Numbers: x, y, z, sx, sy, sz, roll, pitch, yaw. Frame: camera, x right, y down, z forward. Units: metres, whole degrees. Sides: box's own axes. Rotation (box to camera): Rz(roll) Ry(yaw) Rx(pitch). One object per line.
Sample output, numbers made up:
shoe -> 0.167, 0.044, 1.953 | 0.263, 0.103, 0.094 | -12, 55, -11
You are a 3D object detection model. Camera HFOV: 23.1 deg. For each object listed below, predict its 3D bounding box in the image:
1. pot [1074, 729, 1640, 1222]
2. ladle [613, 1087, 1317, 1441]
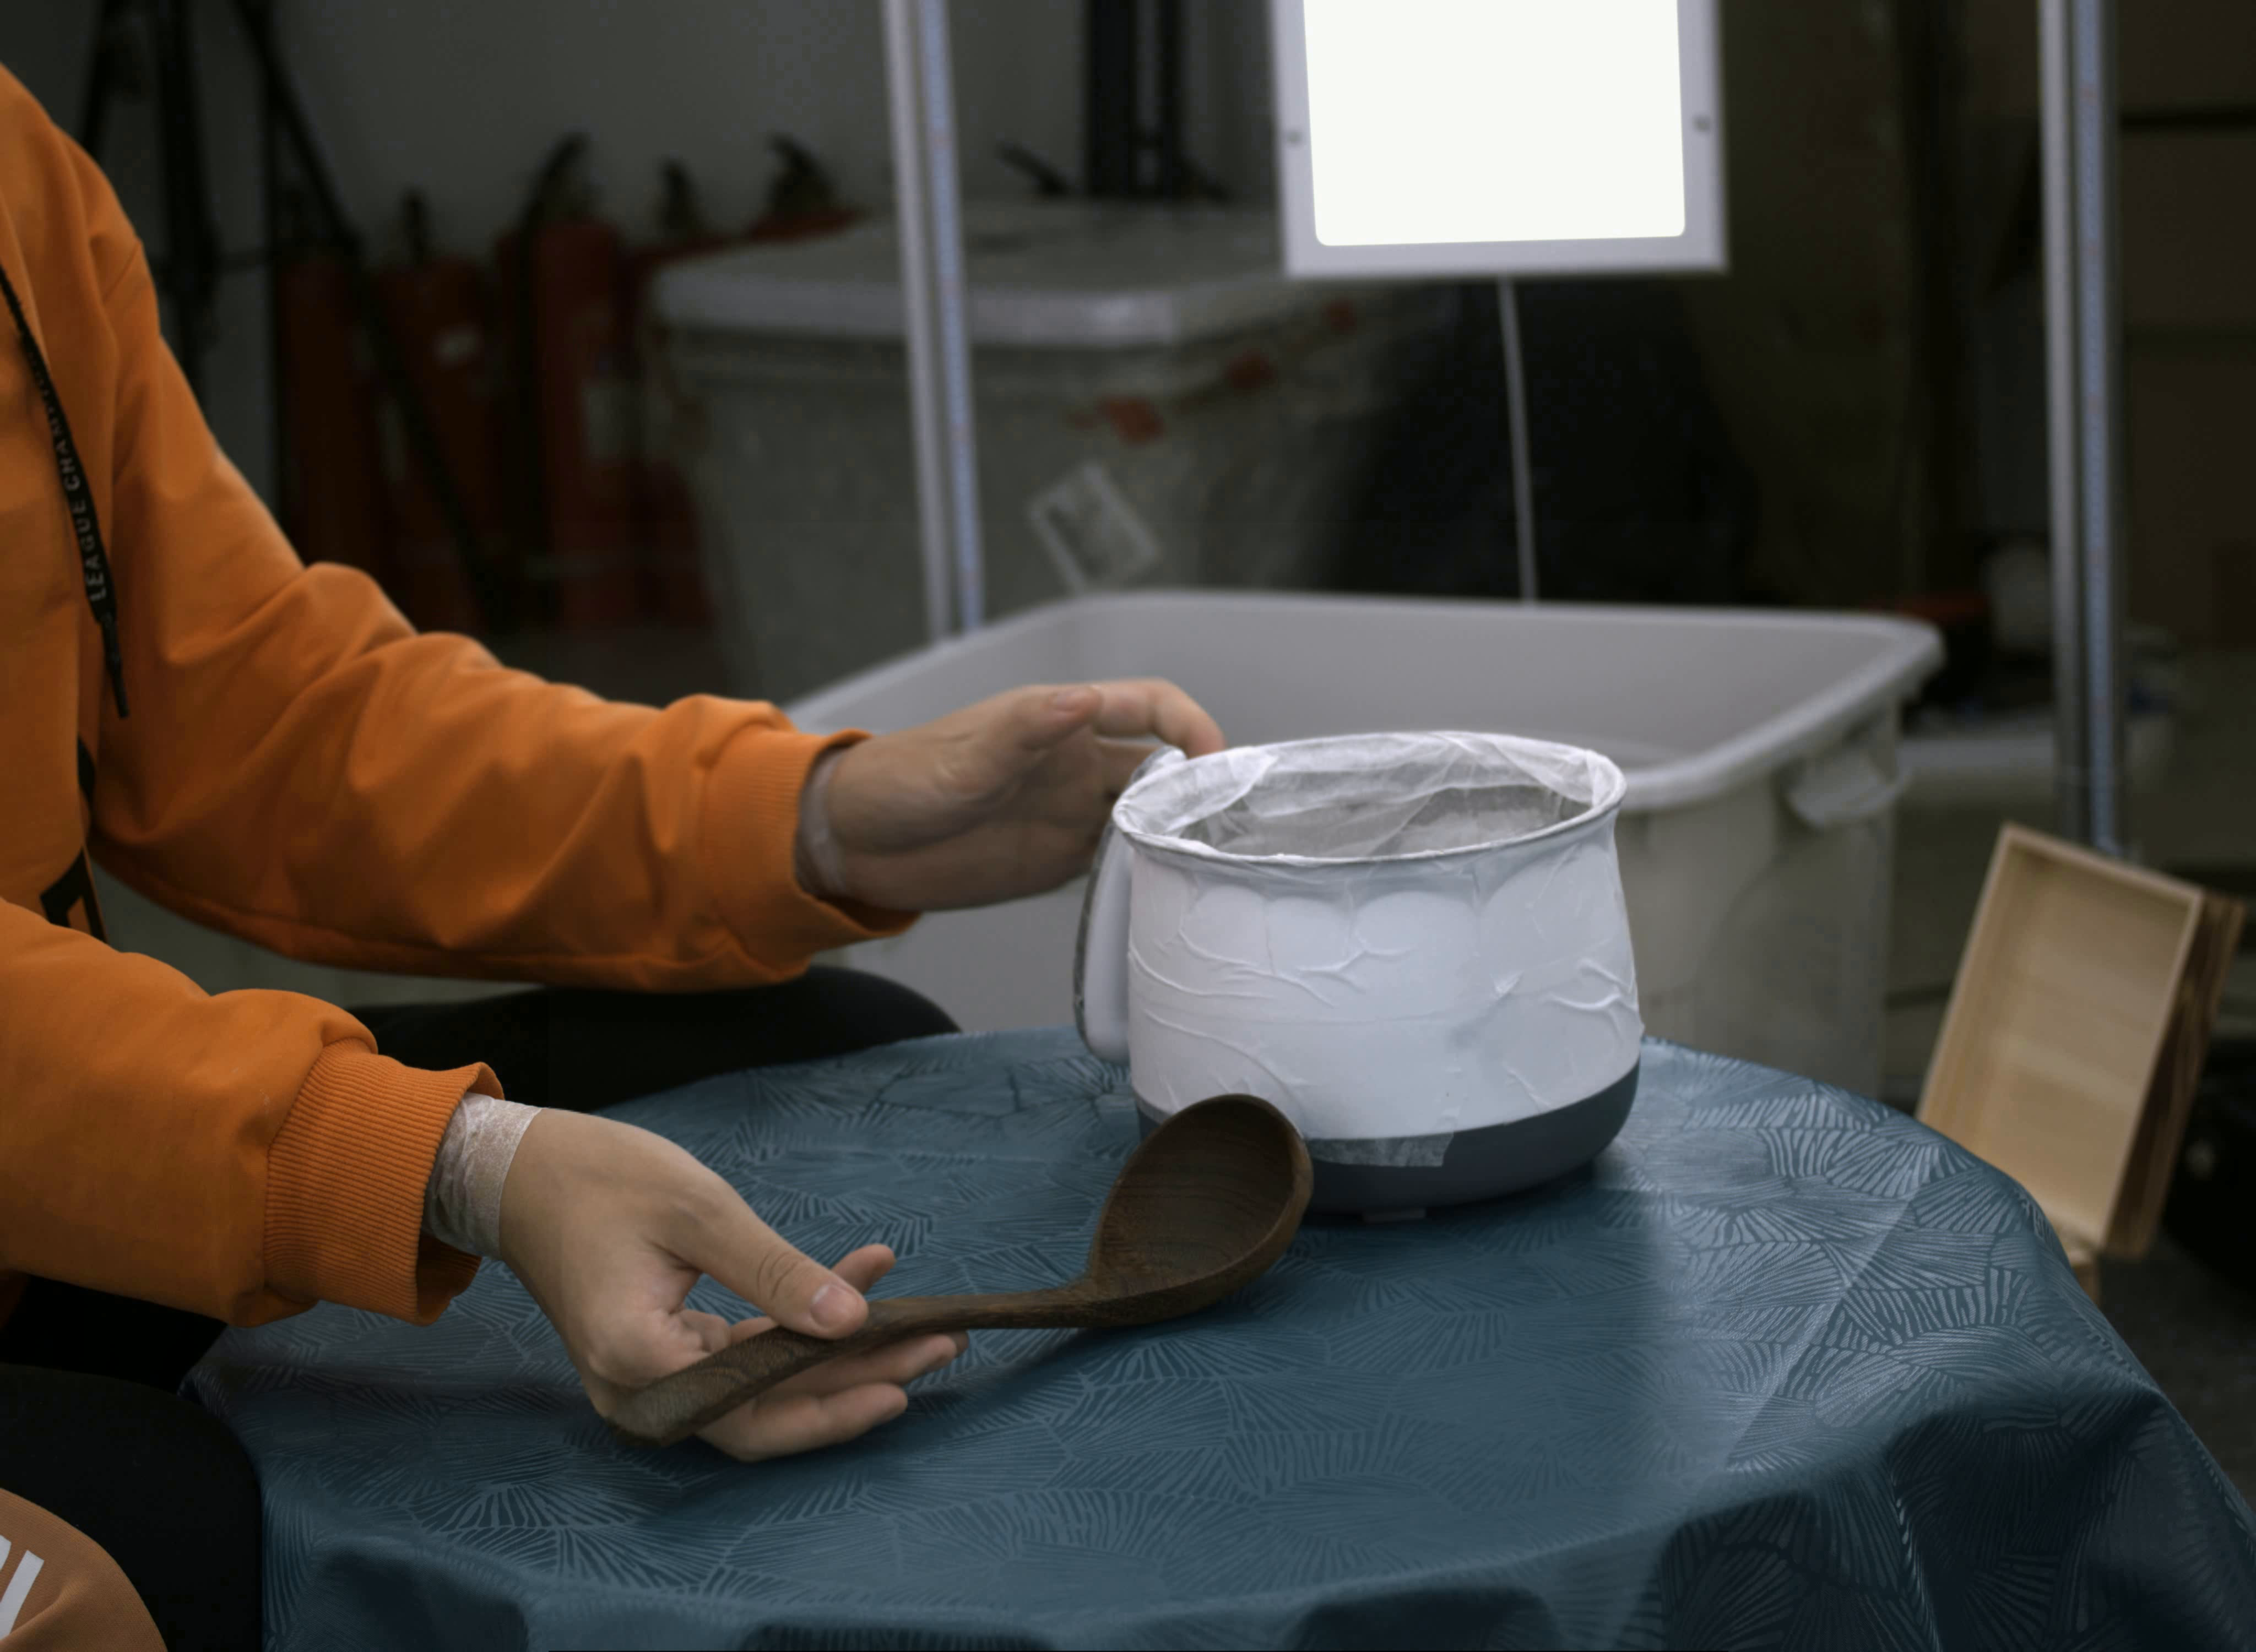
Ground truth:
pot -> 0.067, 0.046, 1.910 | 0.174, 0.137, 0.239 | -17, 18, -42
ladle -> -0.049, 0.132, 1.710 | 0.267, 0.071, 0.077 | -8, 11, -43
